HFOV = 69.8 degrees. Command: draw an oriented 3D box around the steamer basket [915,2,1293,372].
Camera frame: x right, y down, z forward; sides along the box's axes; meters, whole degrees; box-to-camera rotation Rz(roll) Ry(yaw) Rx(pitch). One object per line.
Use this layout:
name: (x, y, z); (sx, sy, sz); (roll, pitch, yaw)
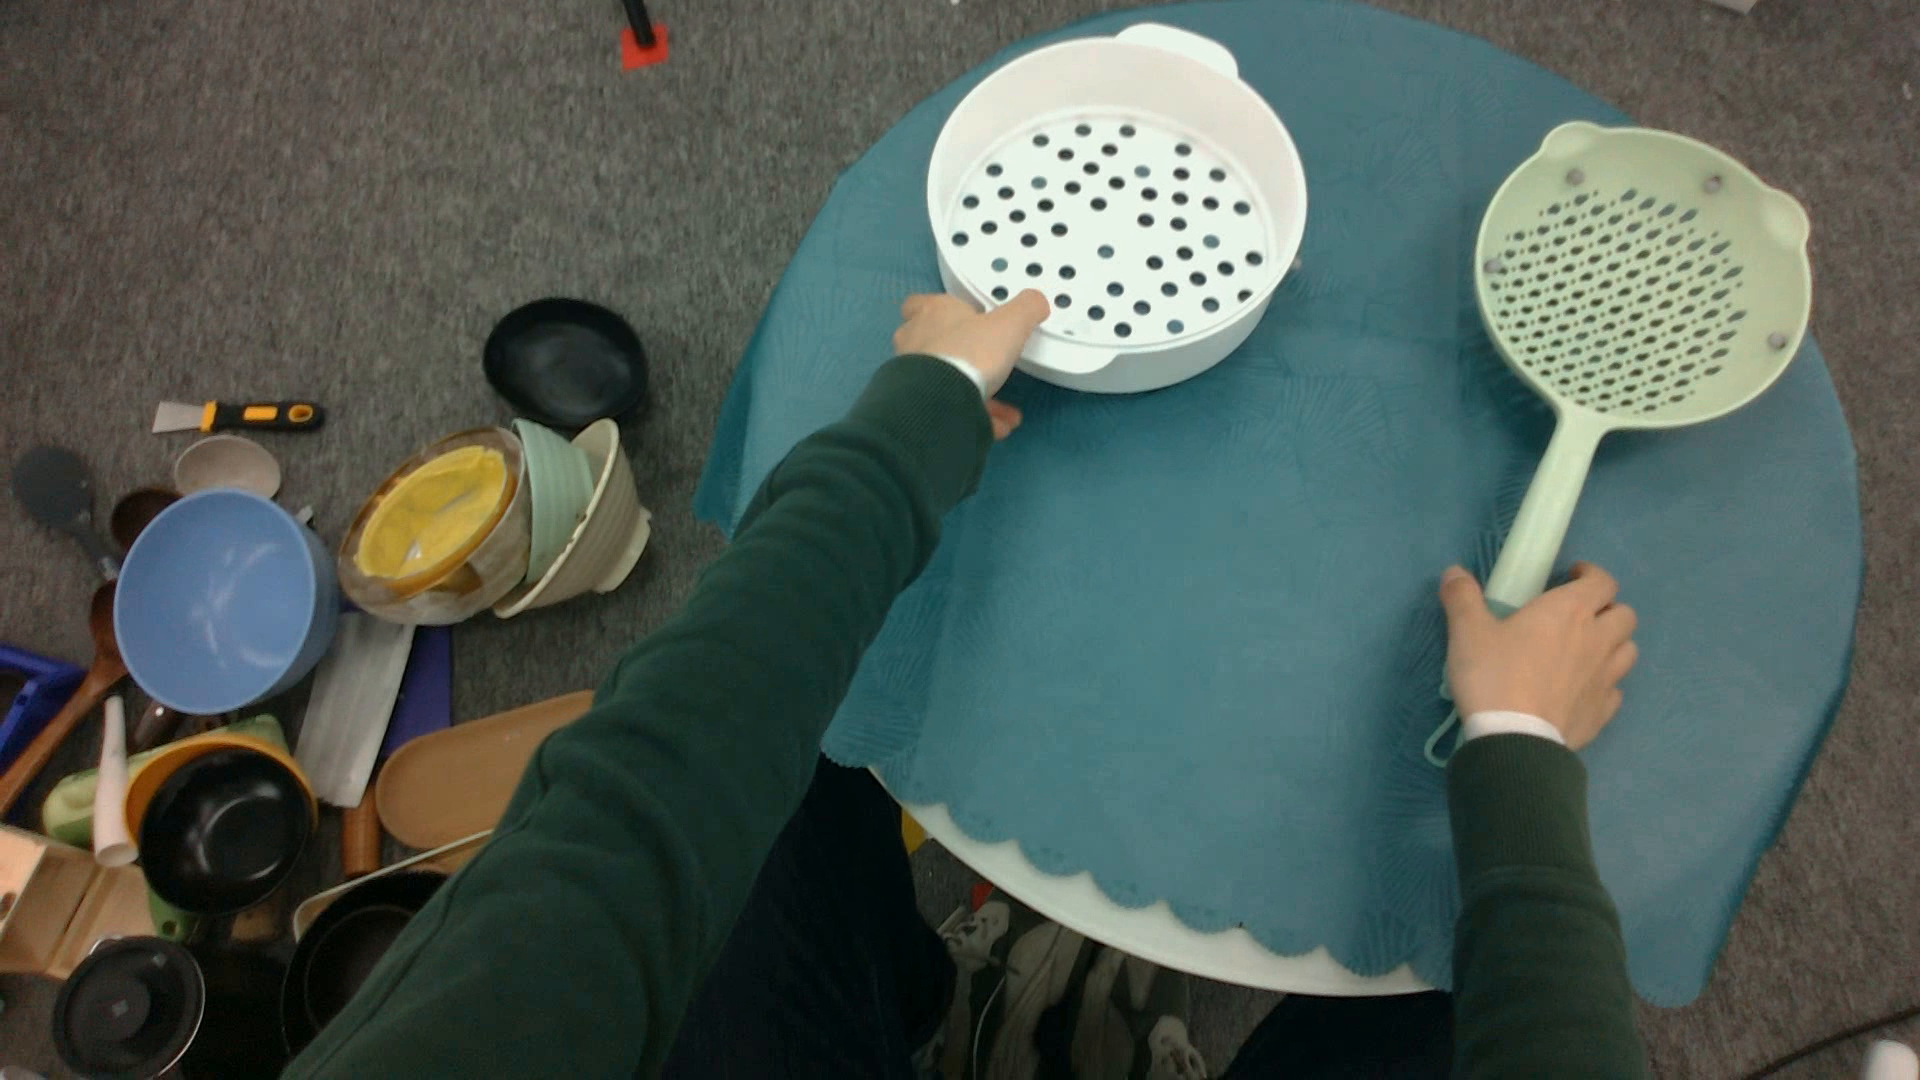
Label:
steamer basket: (0.077, -0.189, 0.762); (0.202, 0.069, 0.231); (20, 70, 8)

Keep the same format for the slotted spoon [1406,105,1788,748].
slotted spoon: (0.306, -0.060, 0.711); (0.169, 0.075, 0.360); (24, 70, 9)
